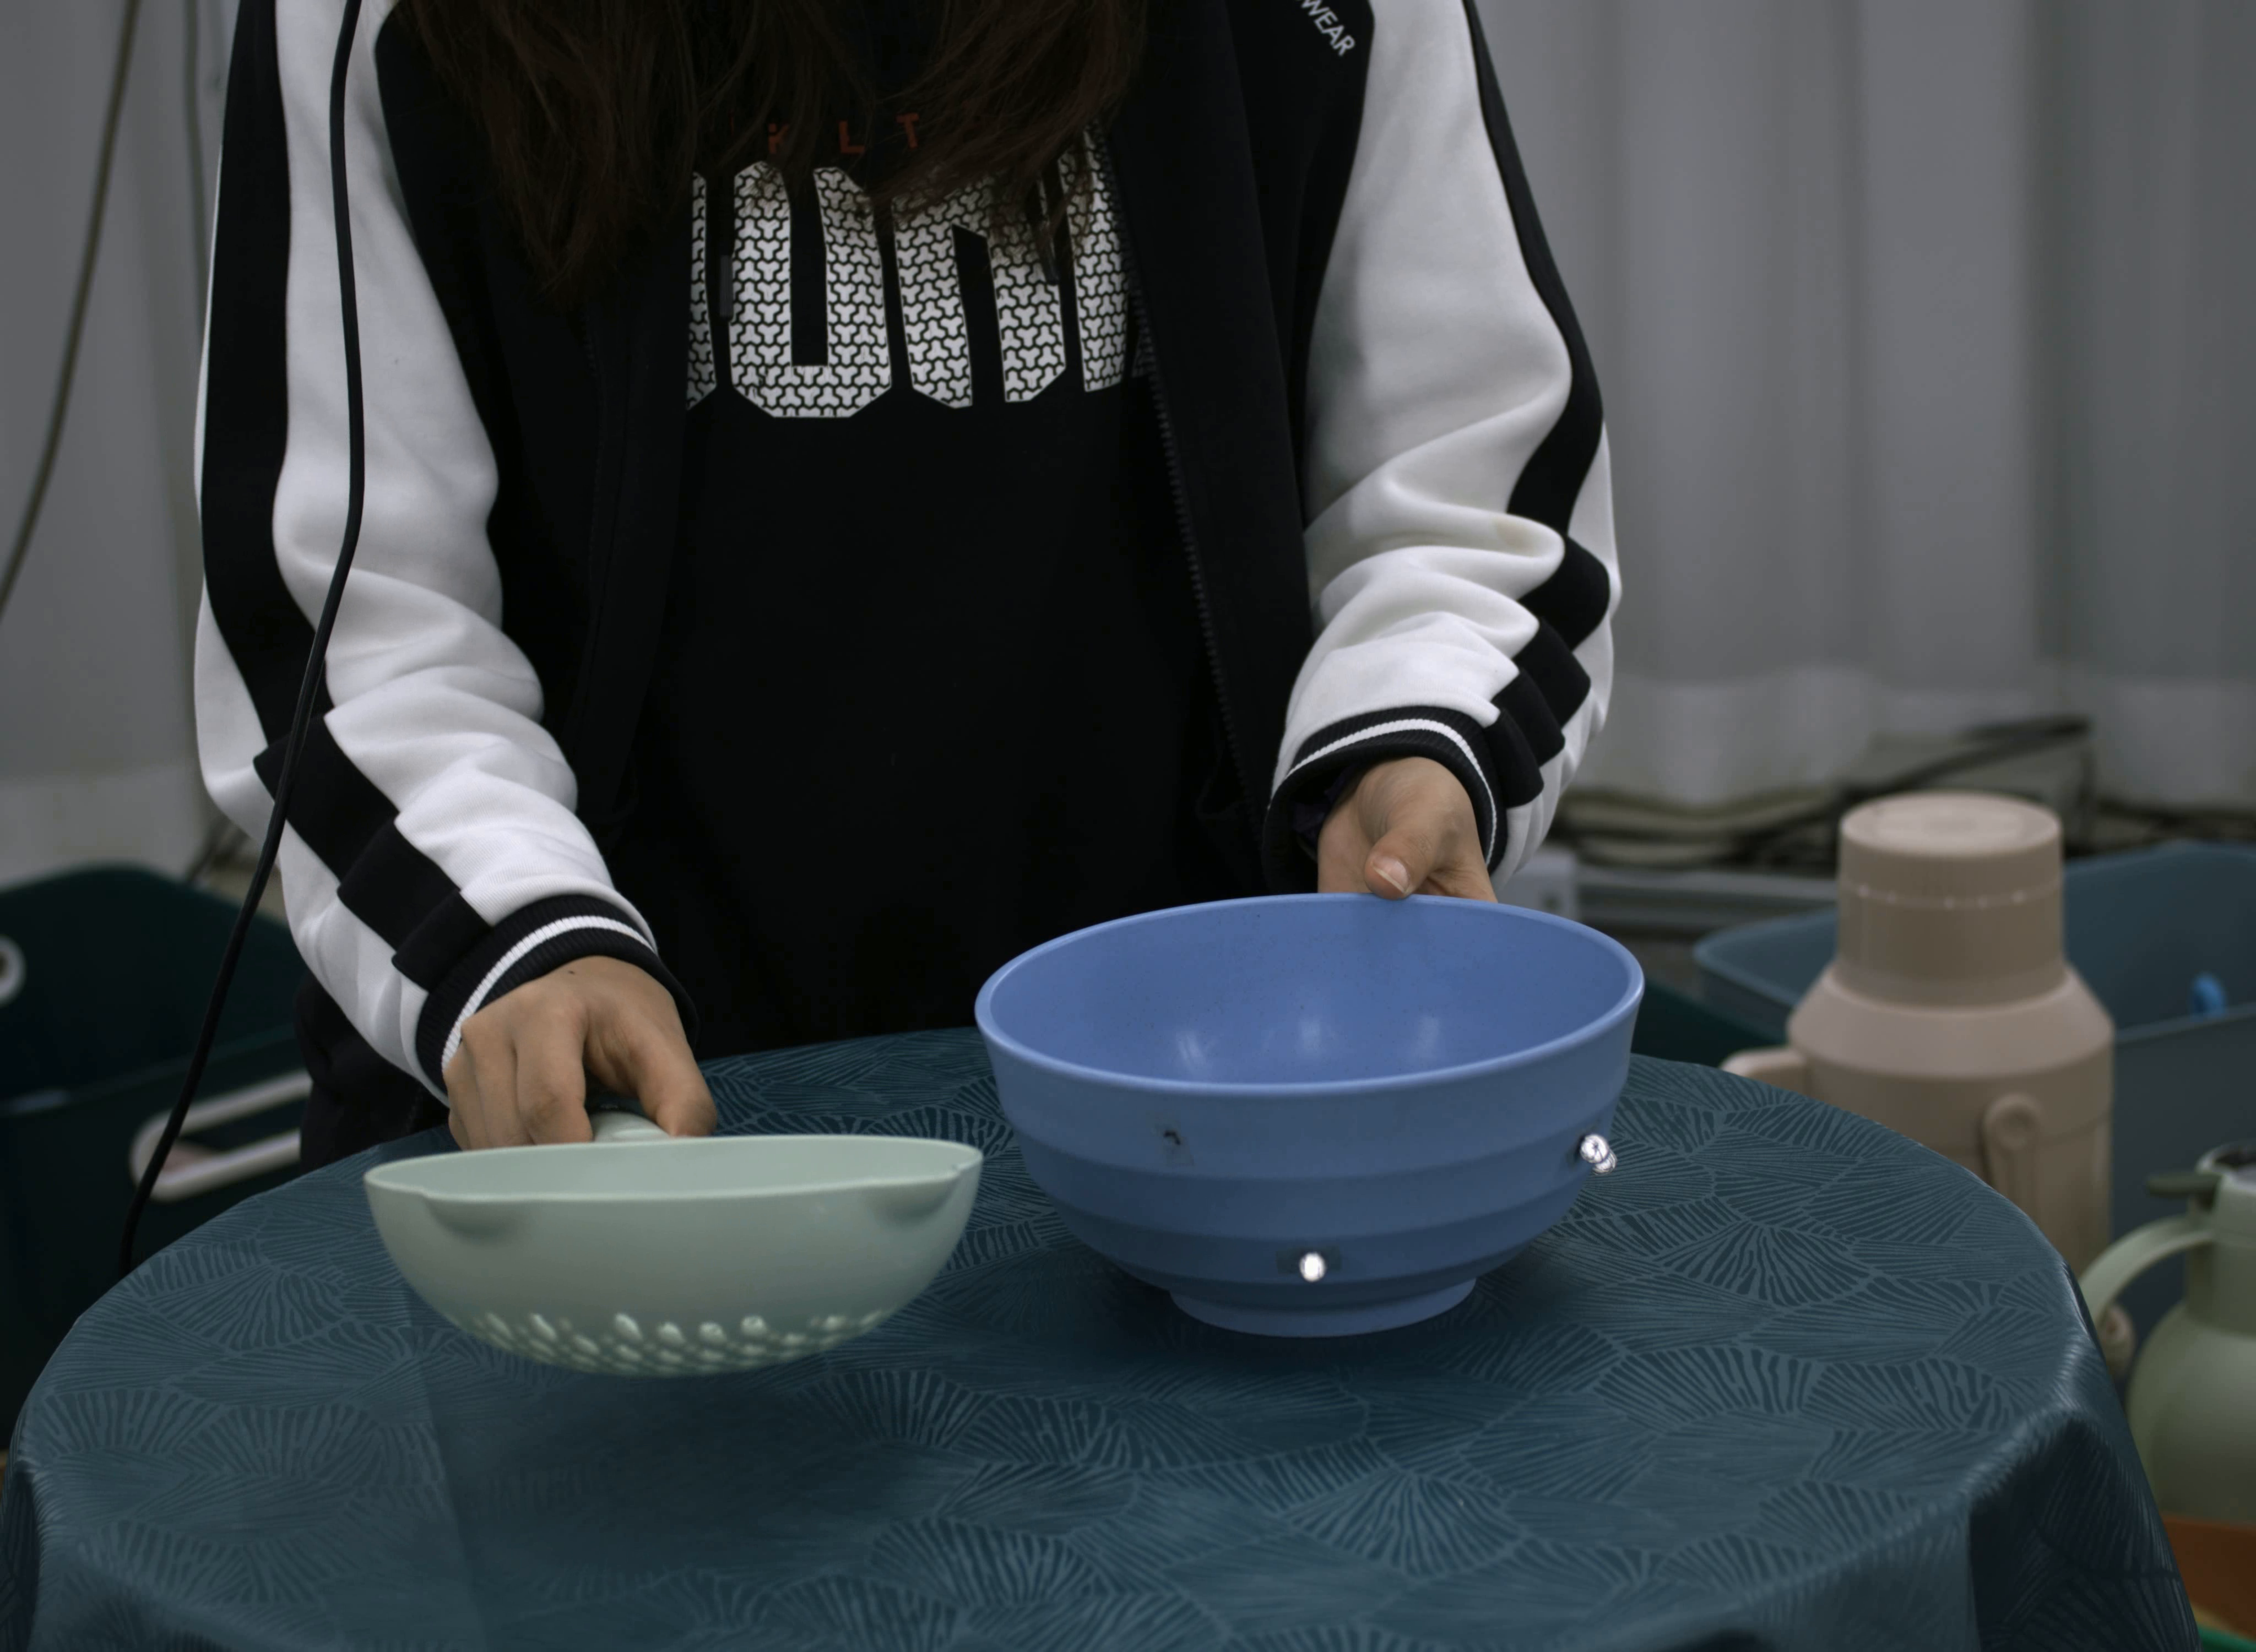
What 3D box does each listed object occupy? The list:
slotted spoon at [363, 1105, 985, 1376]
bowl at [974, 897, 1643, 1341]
[{"bbox_3d":[-0.140,0.104,1.585,0.168,0.075,0.360,-1,8,-10],"label":"slotted spoon"},{"bbox_3d":[0.055,0.092,1.609,0.196,0.095,0.198,-4,14,1],"label":"bowl"}]
